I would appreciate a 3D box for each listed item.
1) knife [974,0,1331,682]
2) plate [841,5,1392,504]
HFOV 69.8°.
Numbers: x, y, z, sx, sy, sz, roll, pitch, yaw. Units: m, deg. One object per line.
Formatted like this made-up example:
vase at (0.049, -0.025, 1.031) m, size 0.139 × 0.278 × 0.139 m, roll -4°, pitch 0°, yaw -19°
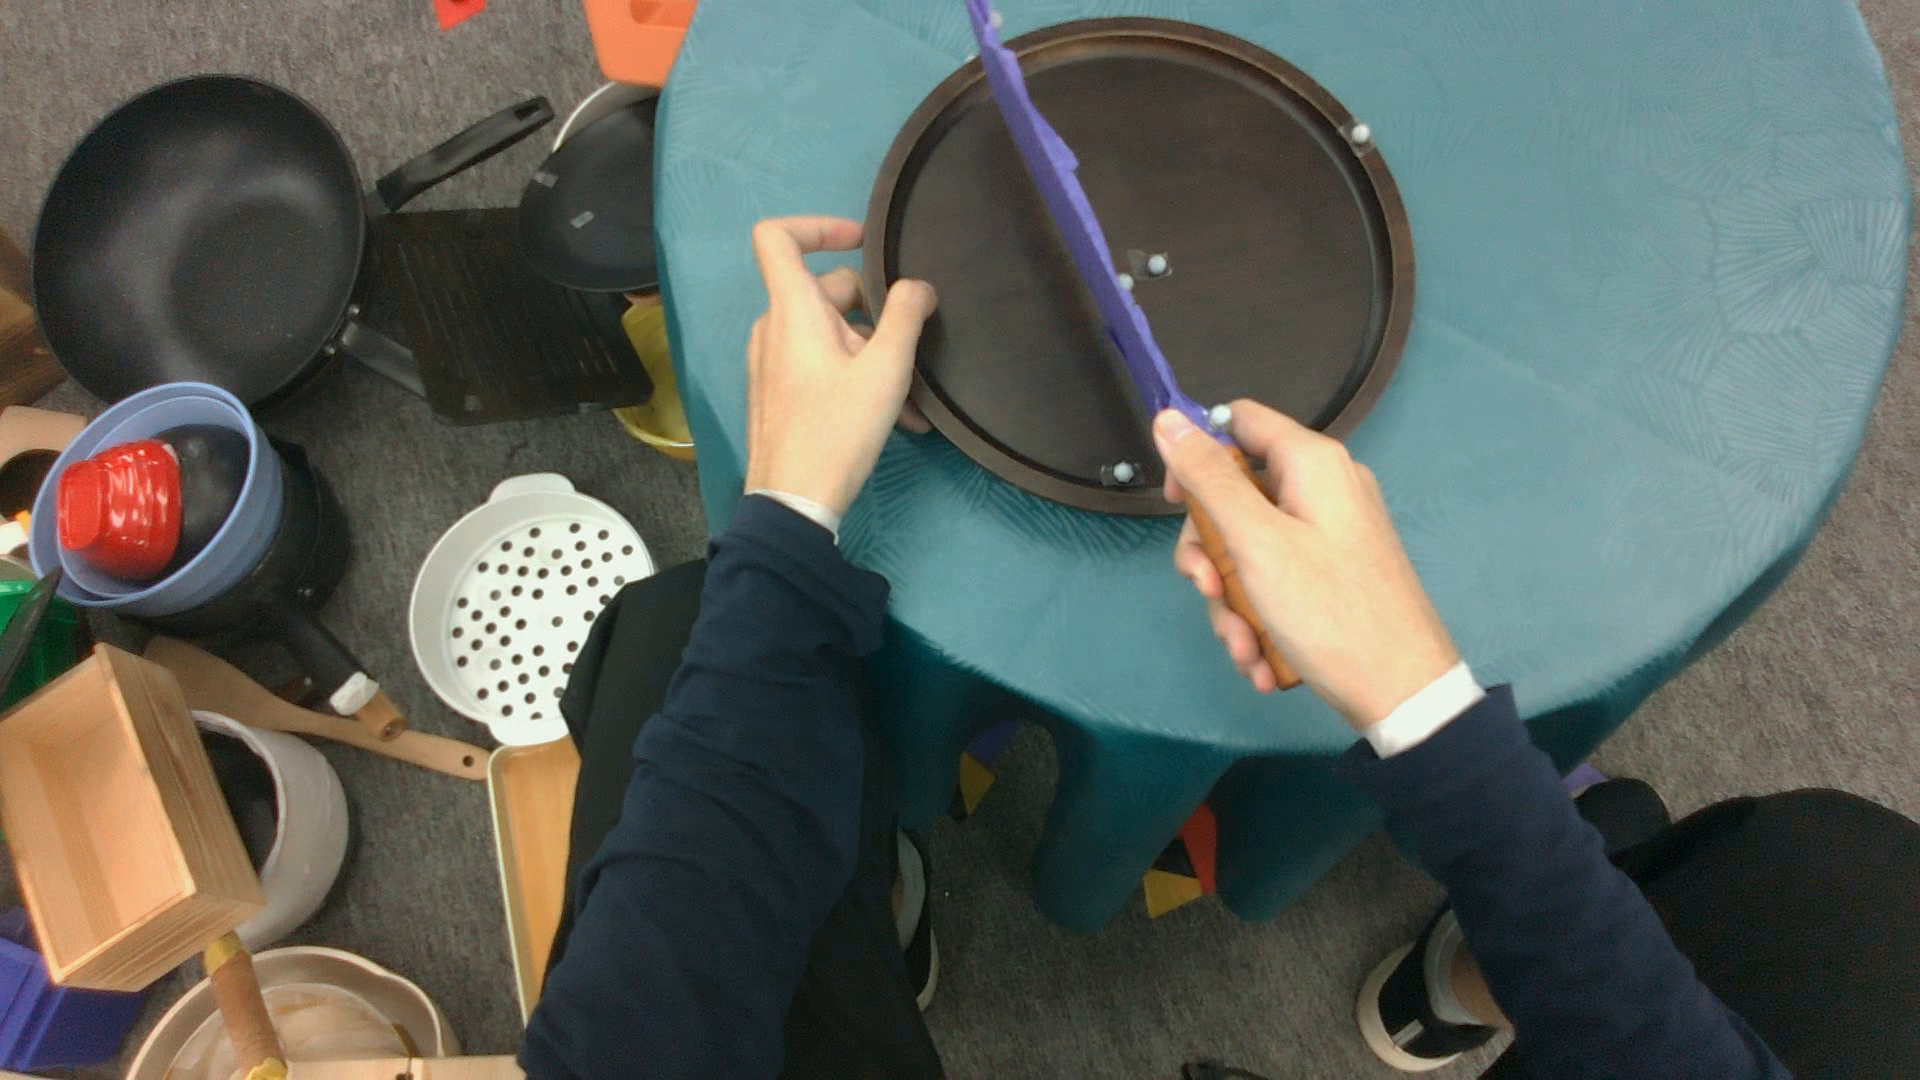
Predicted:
knife at (0.069, -0.091, 0.558) m, size 0.032 × 0.104 × 0.315 m, roll -22°, pitch 78°, yaw 4°
plate at (0.072, -0.135, 0.635) m, size 0.255 × 0.029 × 0.255 m, roll 1°, pitch 72°, yaw -4°
